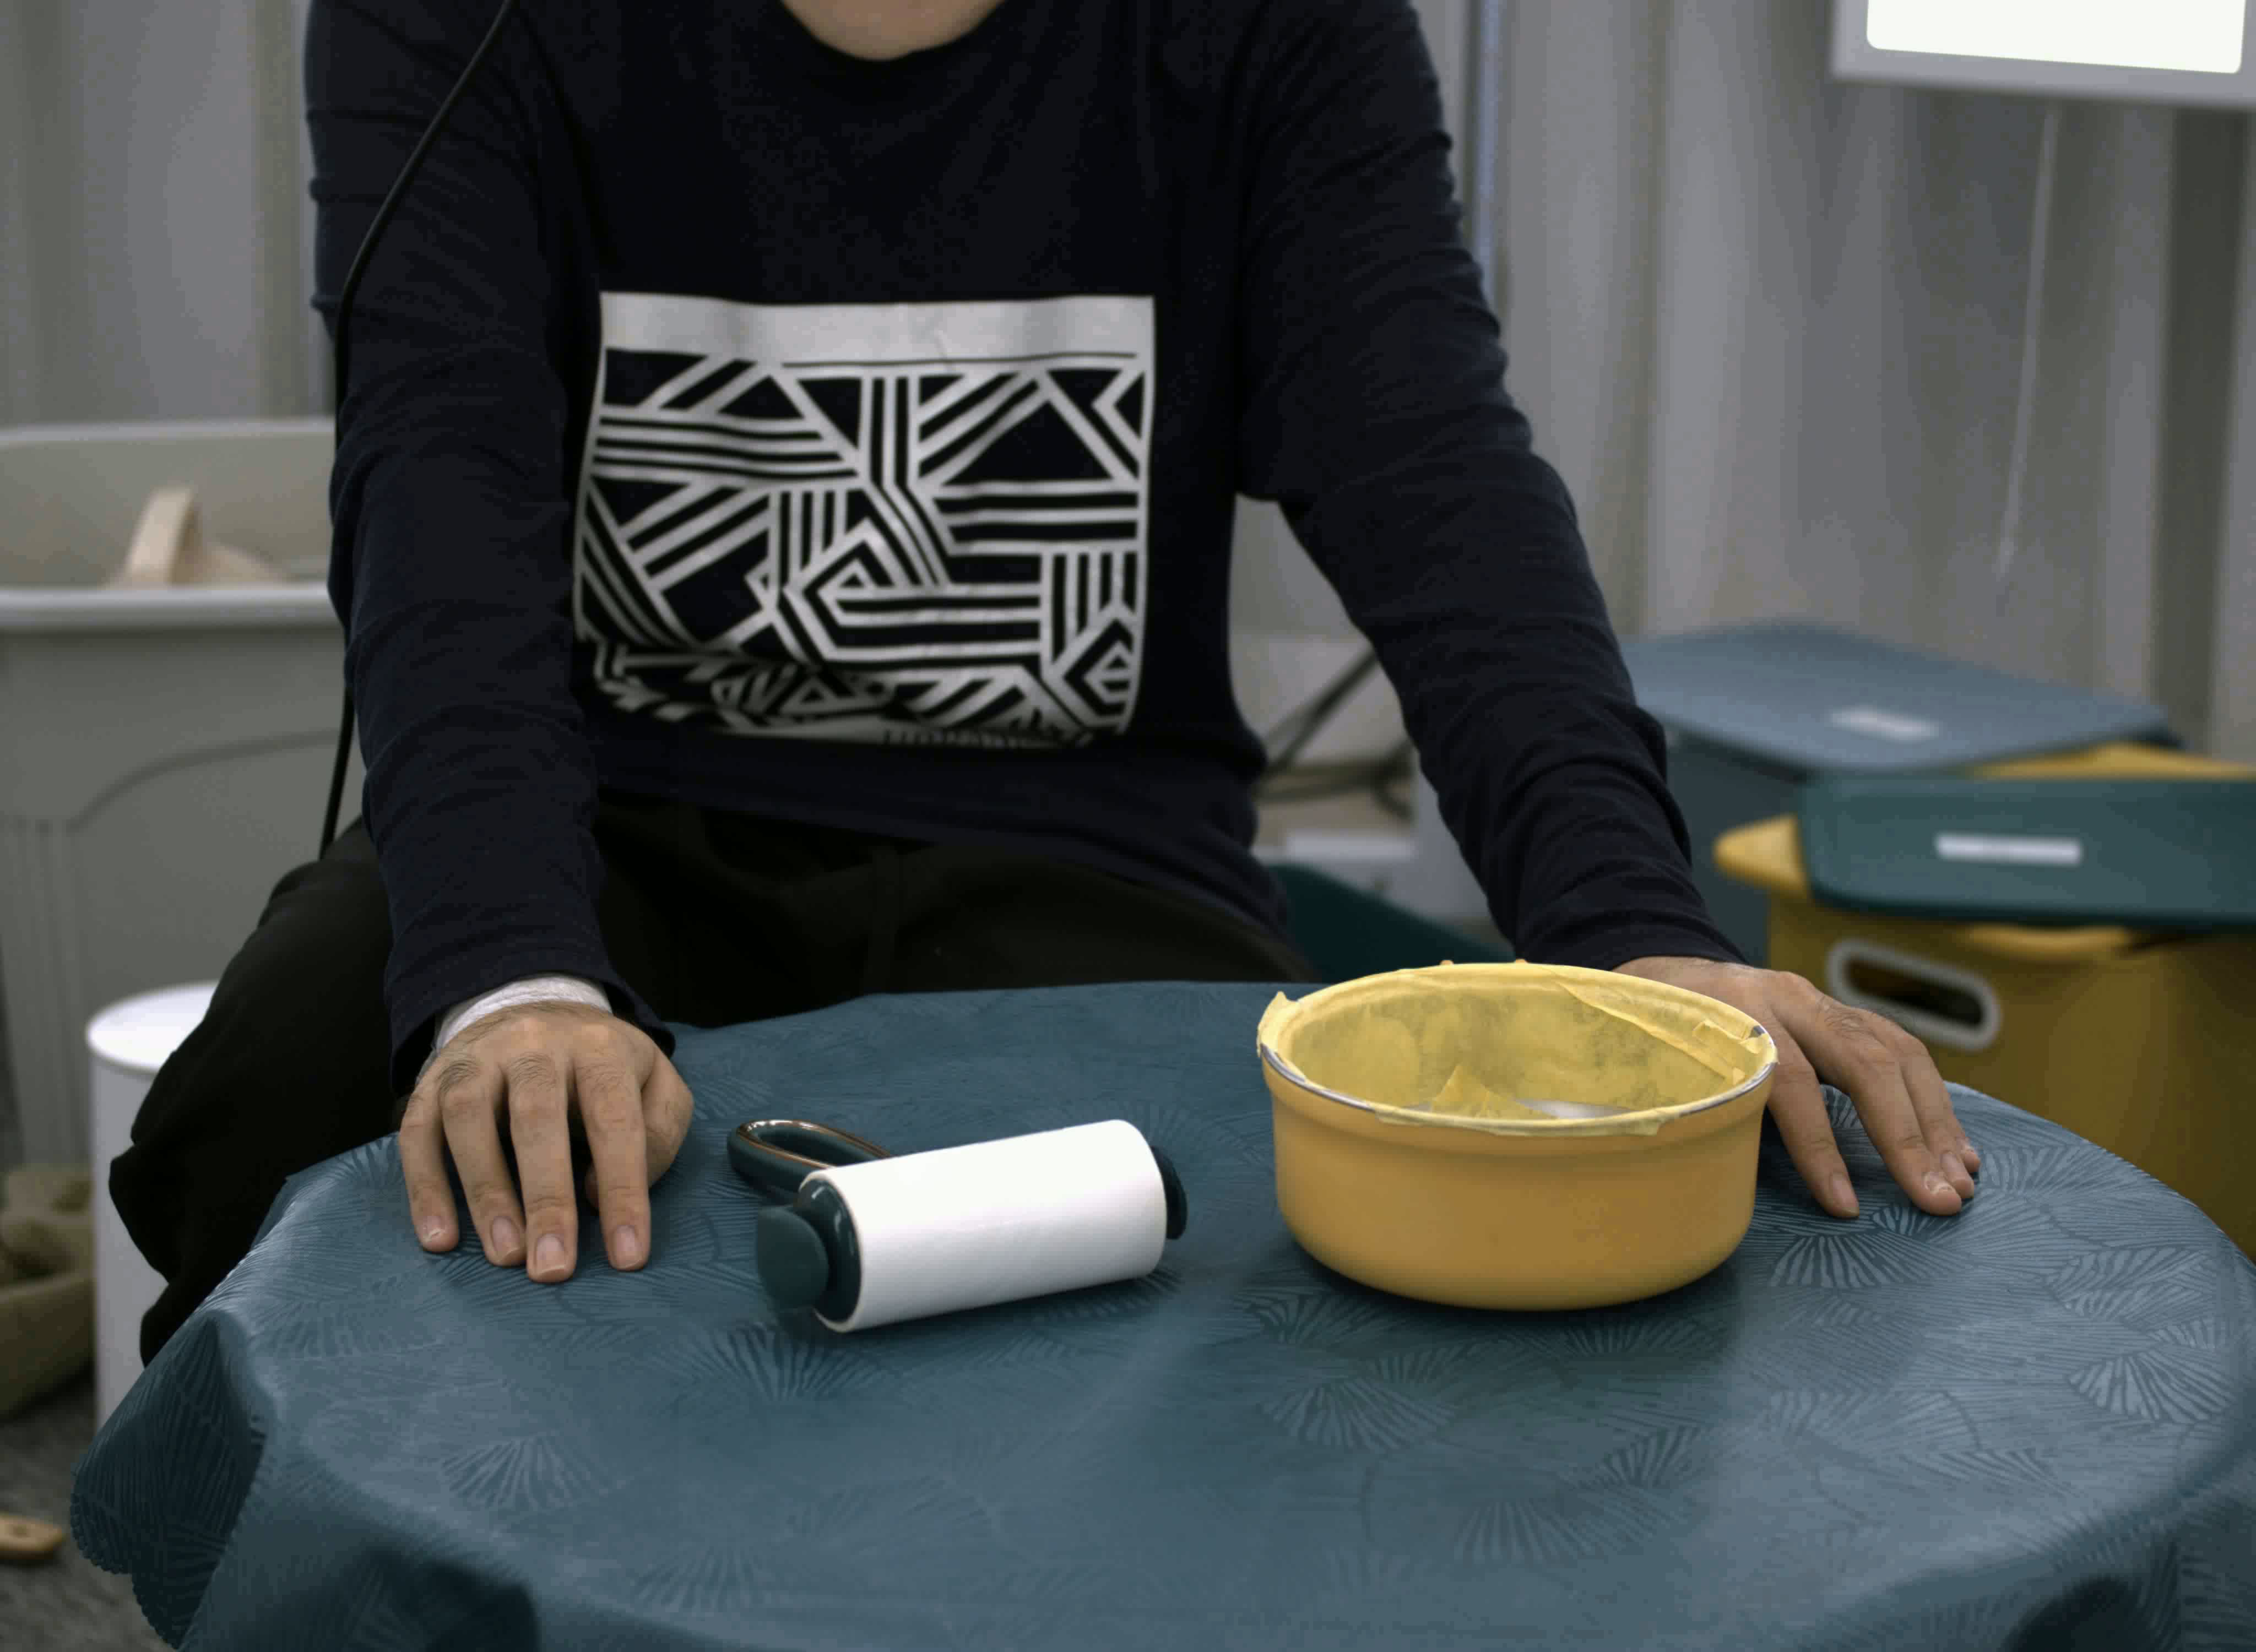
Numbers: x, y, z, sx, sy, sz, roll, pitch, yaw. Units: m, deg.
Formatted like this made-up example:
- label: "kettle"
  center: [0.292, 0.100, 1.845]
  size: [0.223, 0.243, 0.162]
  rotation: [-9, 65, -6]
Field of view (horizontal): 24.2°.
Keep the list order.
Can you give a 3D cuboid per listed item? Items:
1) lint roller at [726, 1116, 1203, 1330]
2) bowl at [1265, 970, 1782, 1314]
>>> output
- label: "lint roller"
  center: [-0.076, 0.105, 1.580]
  size: [0.135, 0.048, 0.178]
  rotation: [-9, 12, -28]
- label: "bowl"
  center: [0.116, 0.093, 1.579]
  size: [0.153, 0.075, 0.178]
  rotation: [-3, 16, -8]
